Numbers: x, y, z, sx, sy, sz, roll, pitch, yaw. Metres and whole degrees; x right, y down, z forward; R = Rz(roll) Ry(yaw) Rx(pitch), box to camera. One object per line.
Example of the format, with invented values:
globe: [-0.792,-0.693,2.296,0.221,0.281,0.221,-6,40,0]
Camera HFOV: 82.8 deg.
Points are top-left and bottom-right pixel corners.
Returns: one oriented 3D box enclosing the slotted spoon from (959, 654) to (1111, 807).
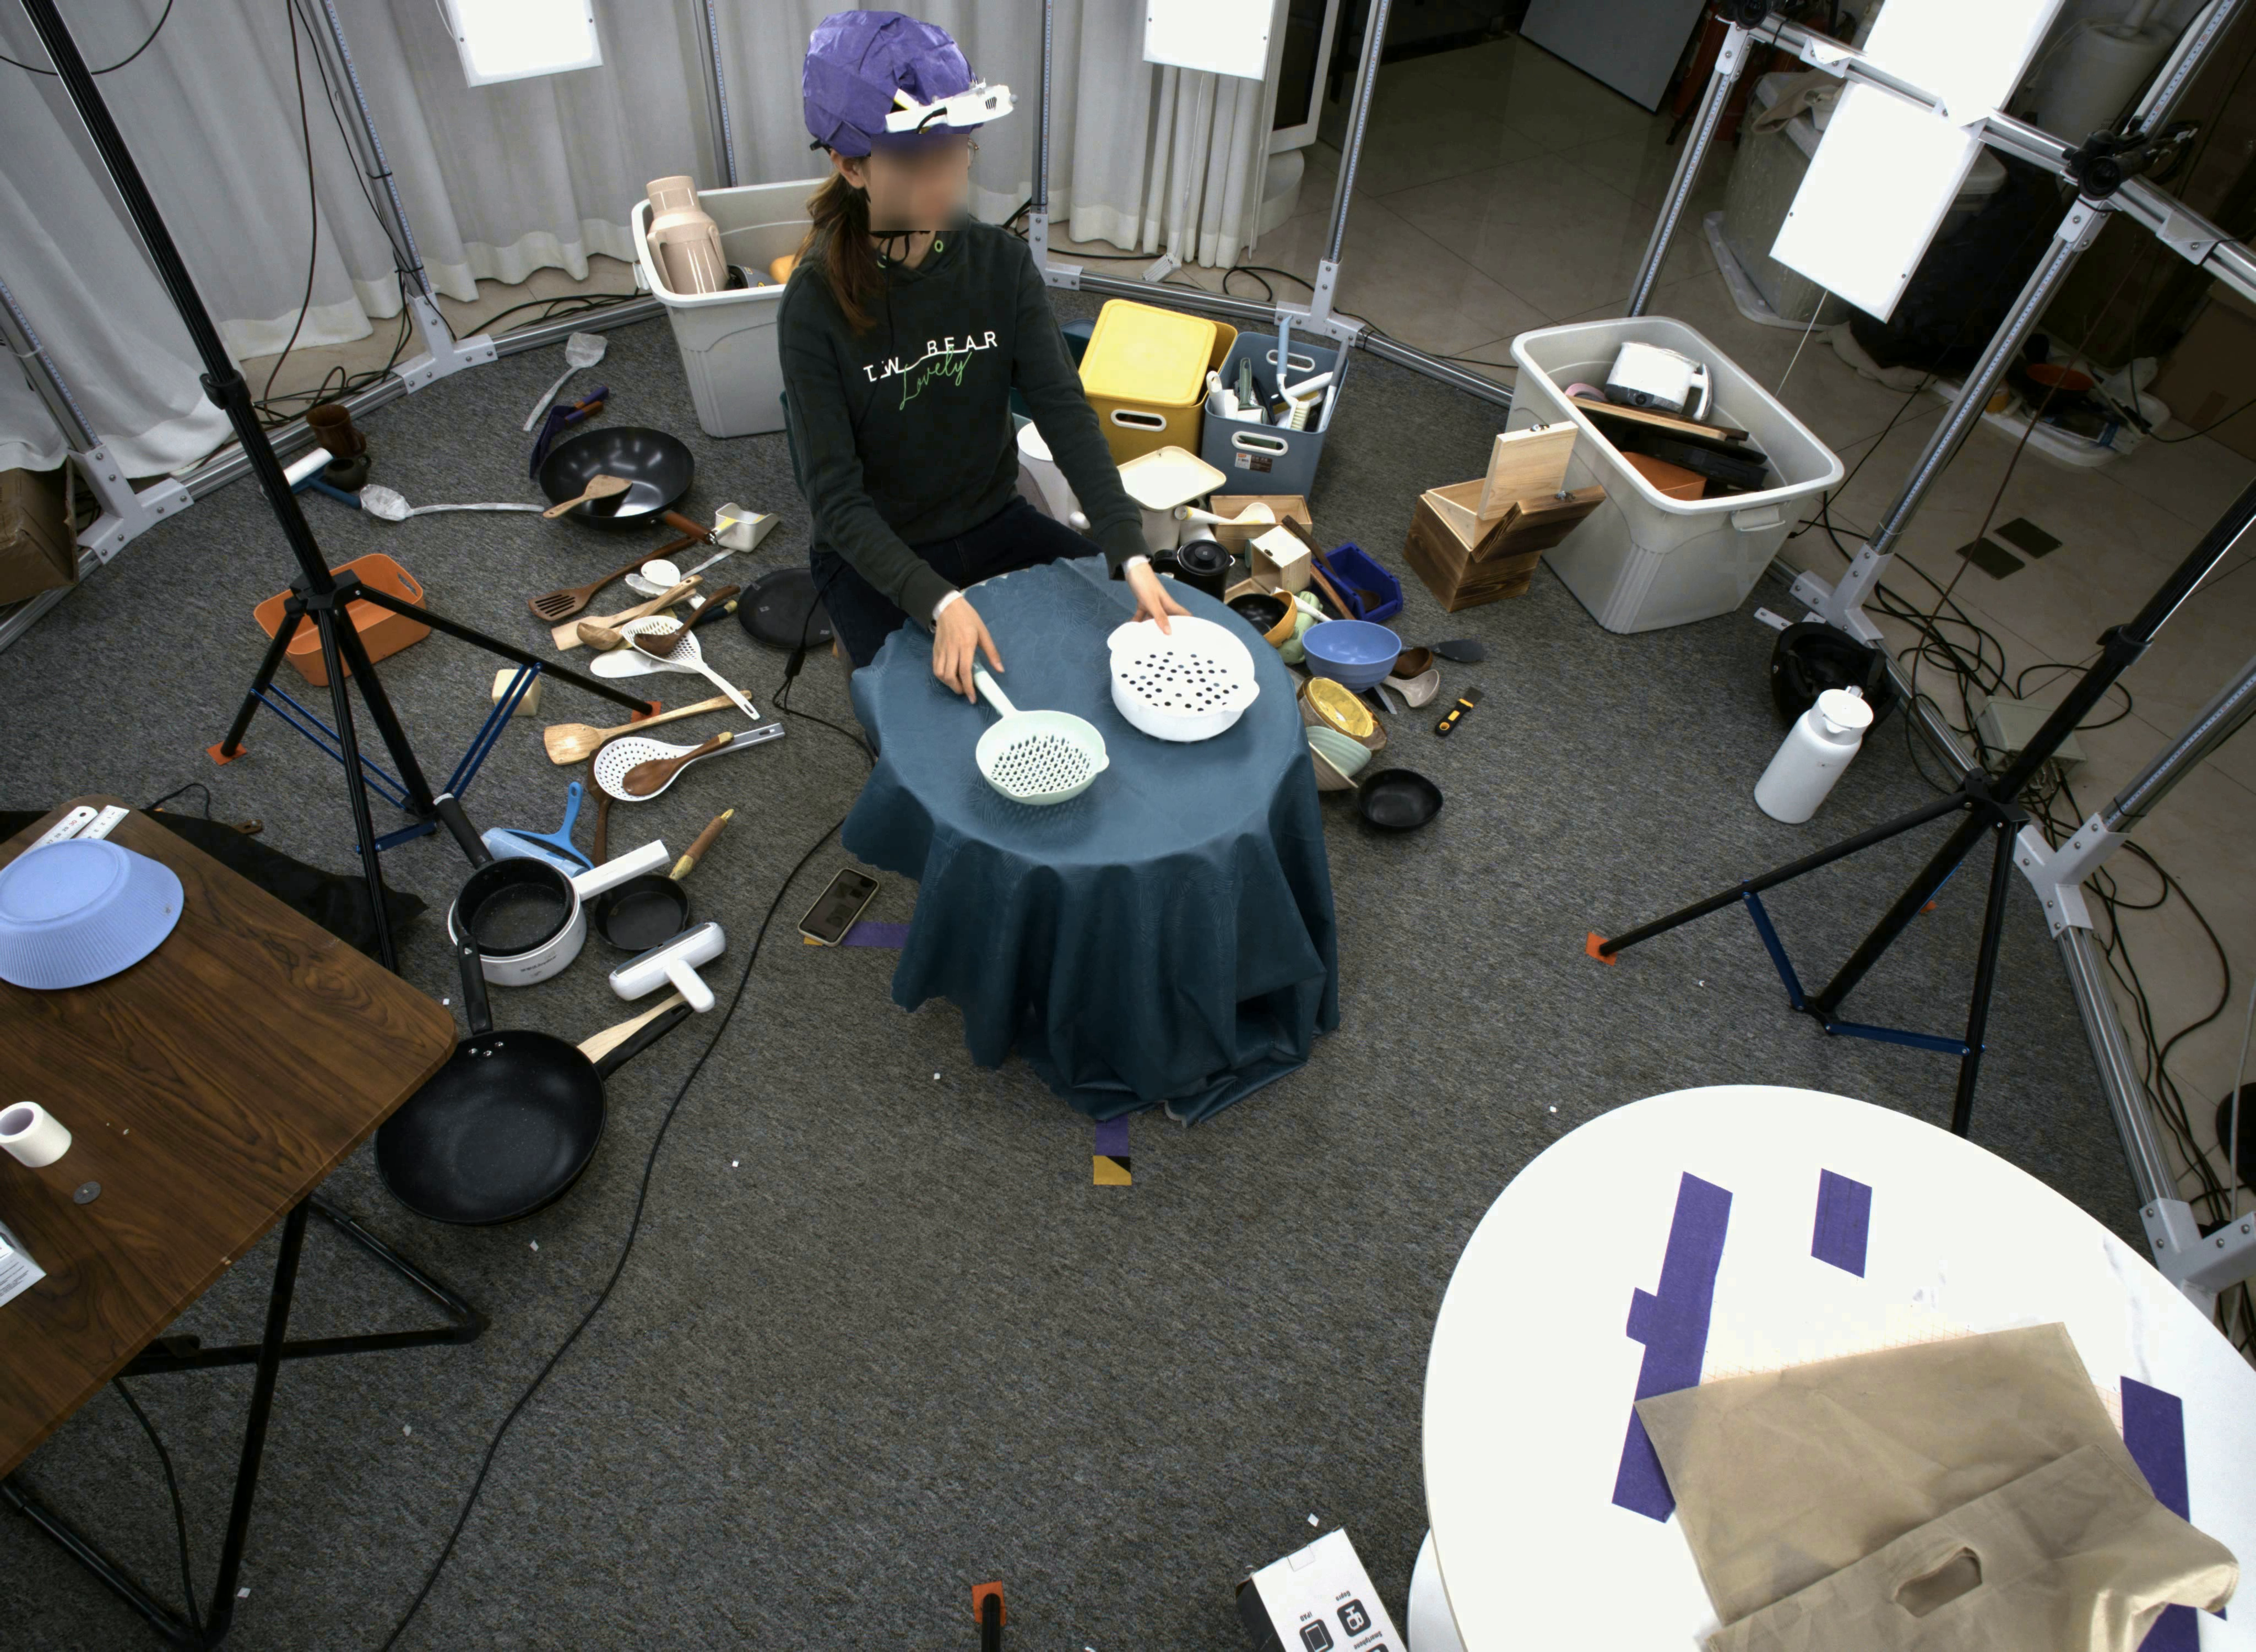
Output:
slotted spoon: [-0.159,-0.147,1.760,0.169,0.073,0.367,-19,53,-20]

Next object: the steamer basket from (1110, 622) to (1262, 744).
steamer basket: [0.079,-0.202,1.825,0.233,0.067,0.205,28,52,20]
